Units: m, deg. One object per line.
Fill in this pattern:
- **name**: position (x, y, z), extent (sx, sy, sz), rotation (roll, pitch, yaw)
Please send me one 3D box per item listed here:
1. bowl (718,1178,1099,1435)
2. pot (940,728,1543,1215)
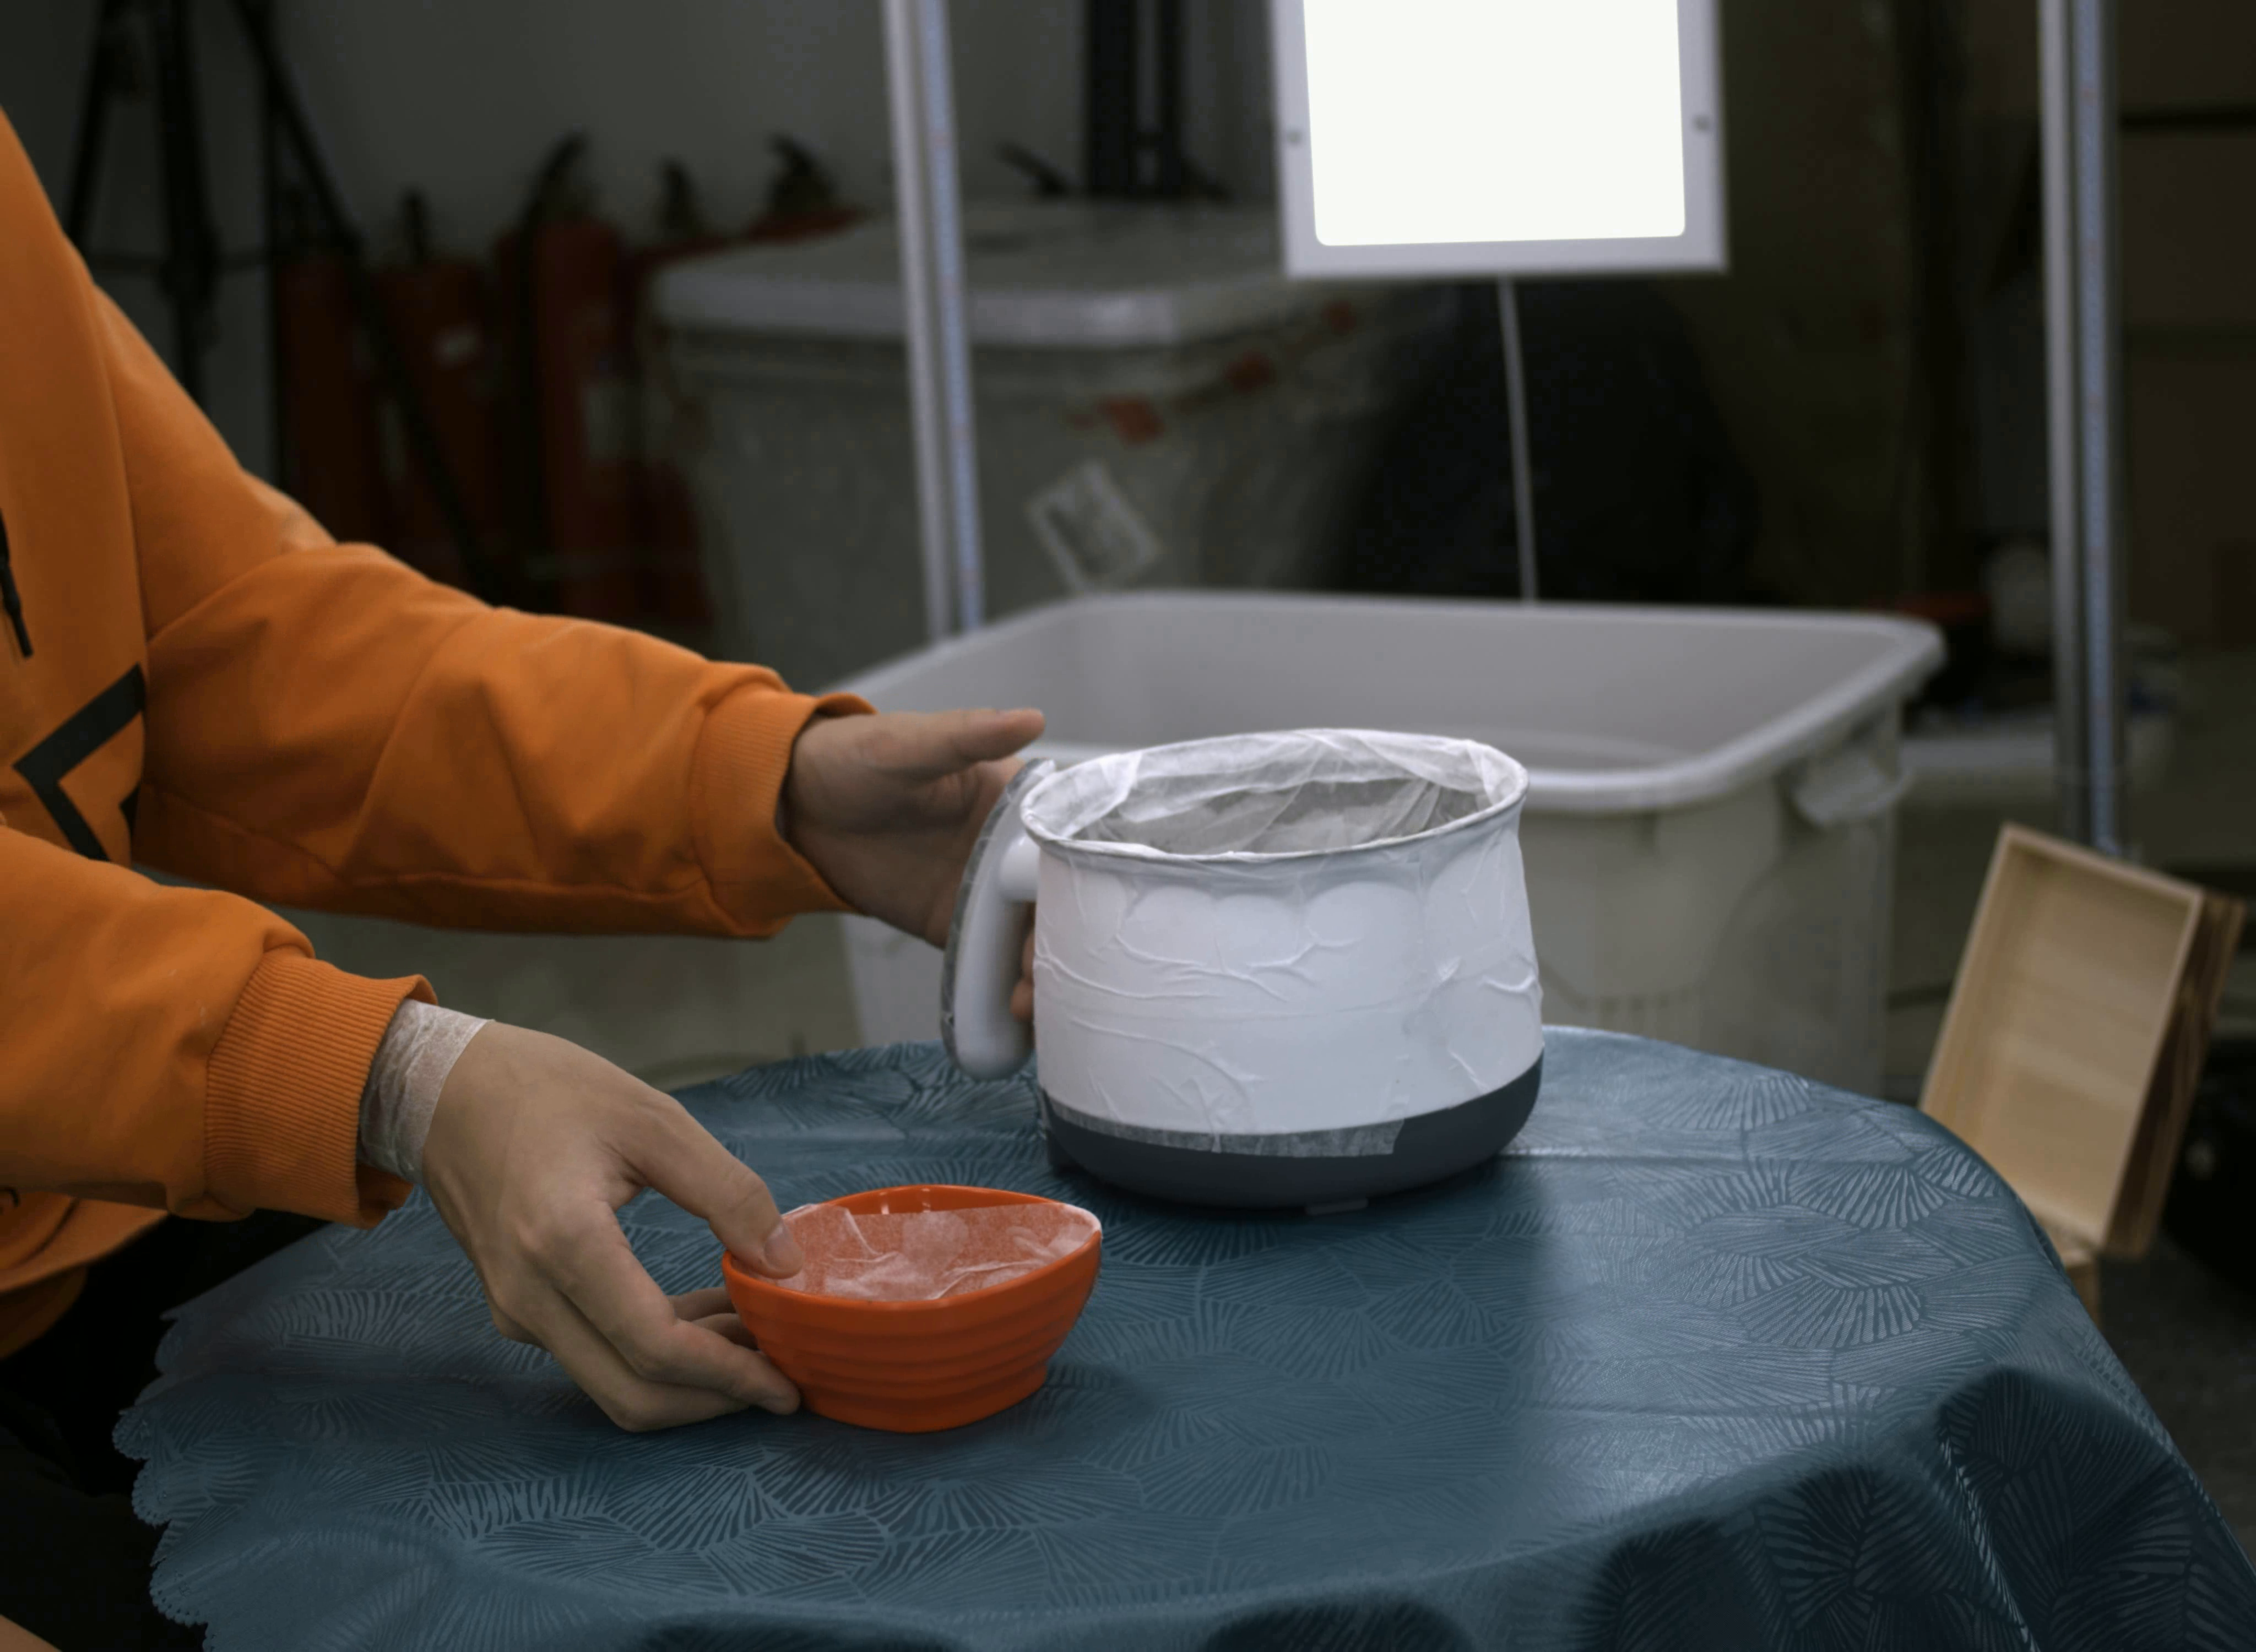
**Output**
- **bowl**: position (-0.066, 0.151, 1.711), extent (0.118, 0.051, 0.119), rotation (-4, 16, 0)
- **pot**: position (0.032, 0.047, 1.921), extent (0.238, 0.137, 0.174), rotation (5, 17, 35)
